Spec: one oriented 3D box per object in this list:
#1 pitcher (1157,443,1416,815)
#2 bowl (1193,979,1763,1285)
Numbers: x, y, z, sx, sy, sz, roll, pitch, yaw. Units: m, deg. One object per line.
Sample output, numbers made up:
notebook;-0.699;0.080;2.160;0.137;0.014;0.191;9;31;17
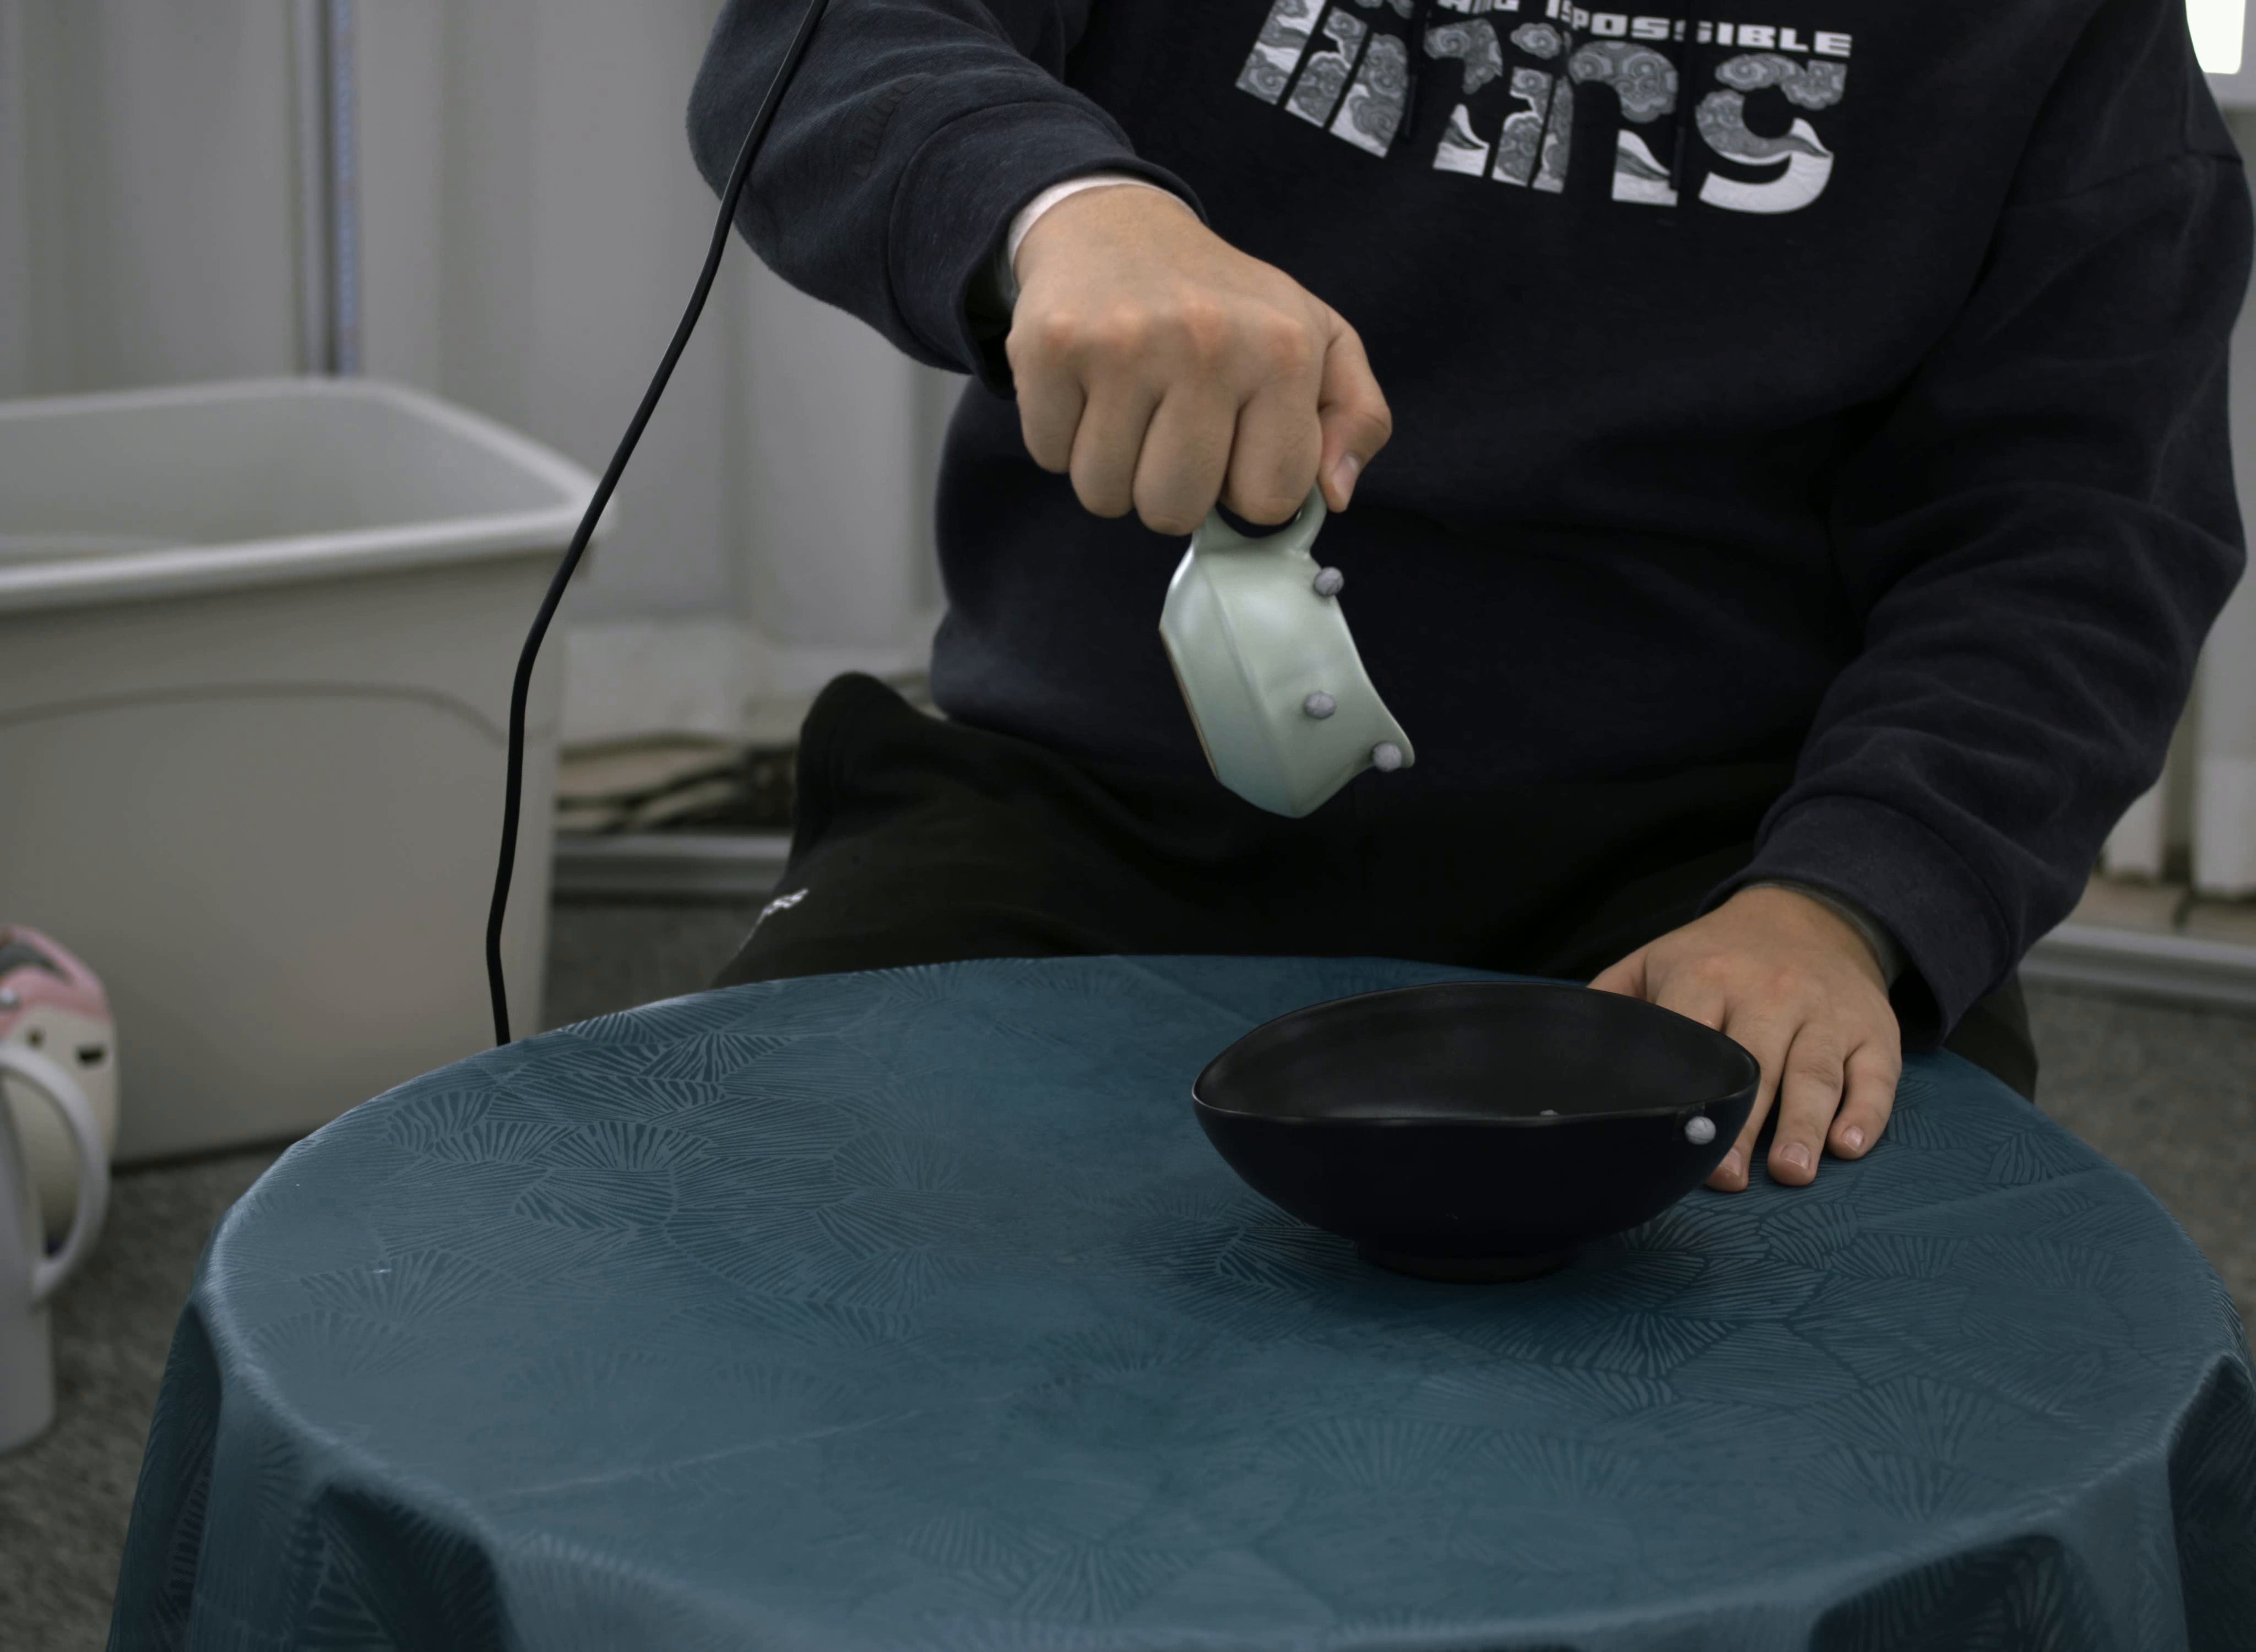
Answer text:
pitcher;0.039;-0.057;1.516;0.060;0.109;0.085;-23;16;-2
bowl;0.105;0.096;1.573;0.170;0.067;0.136;-1;15;-4
